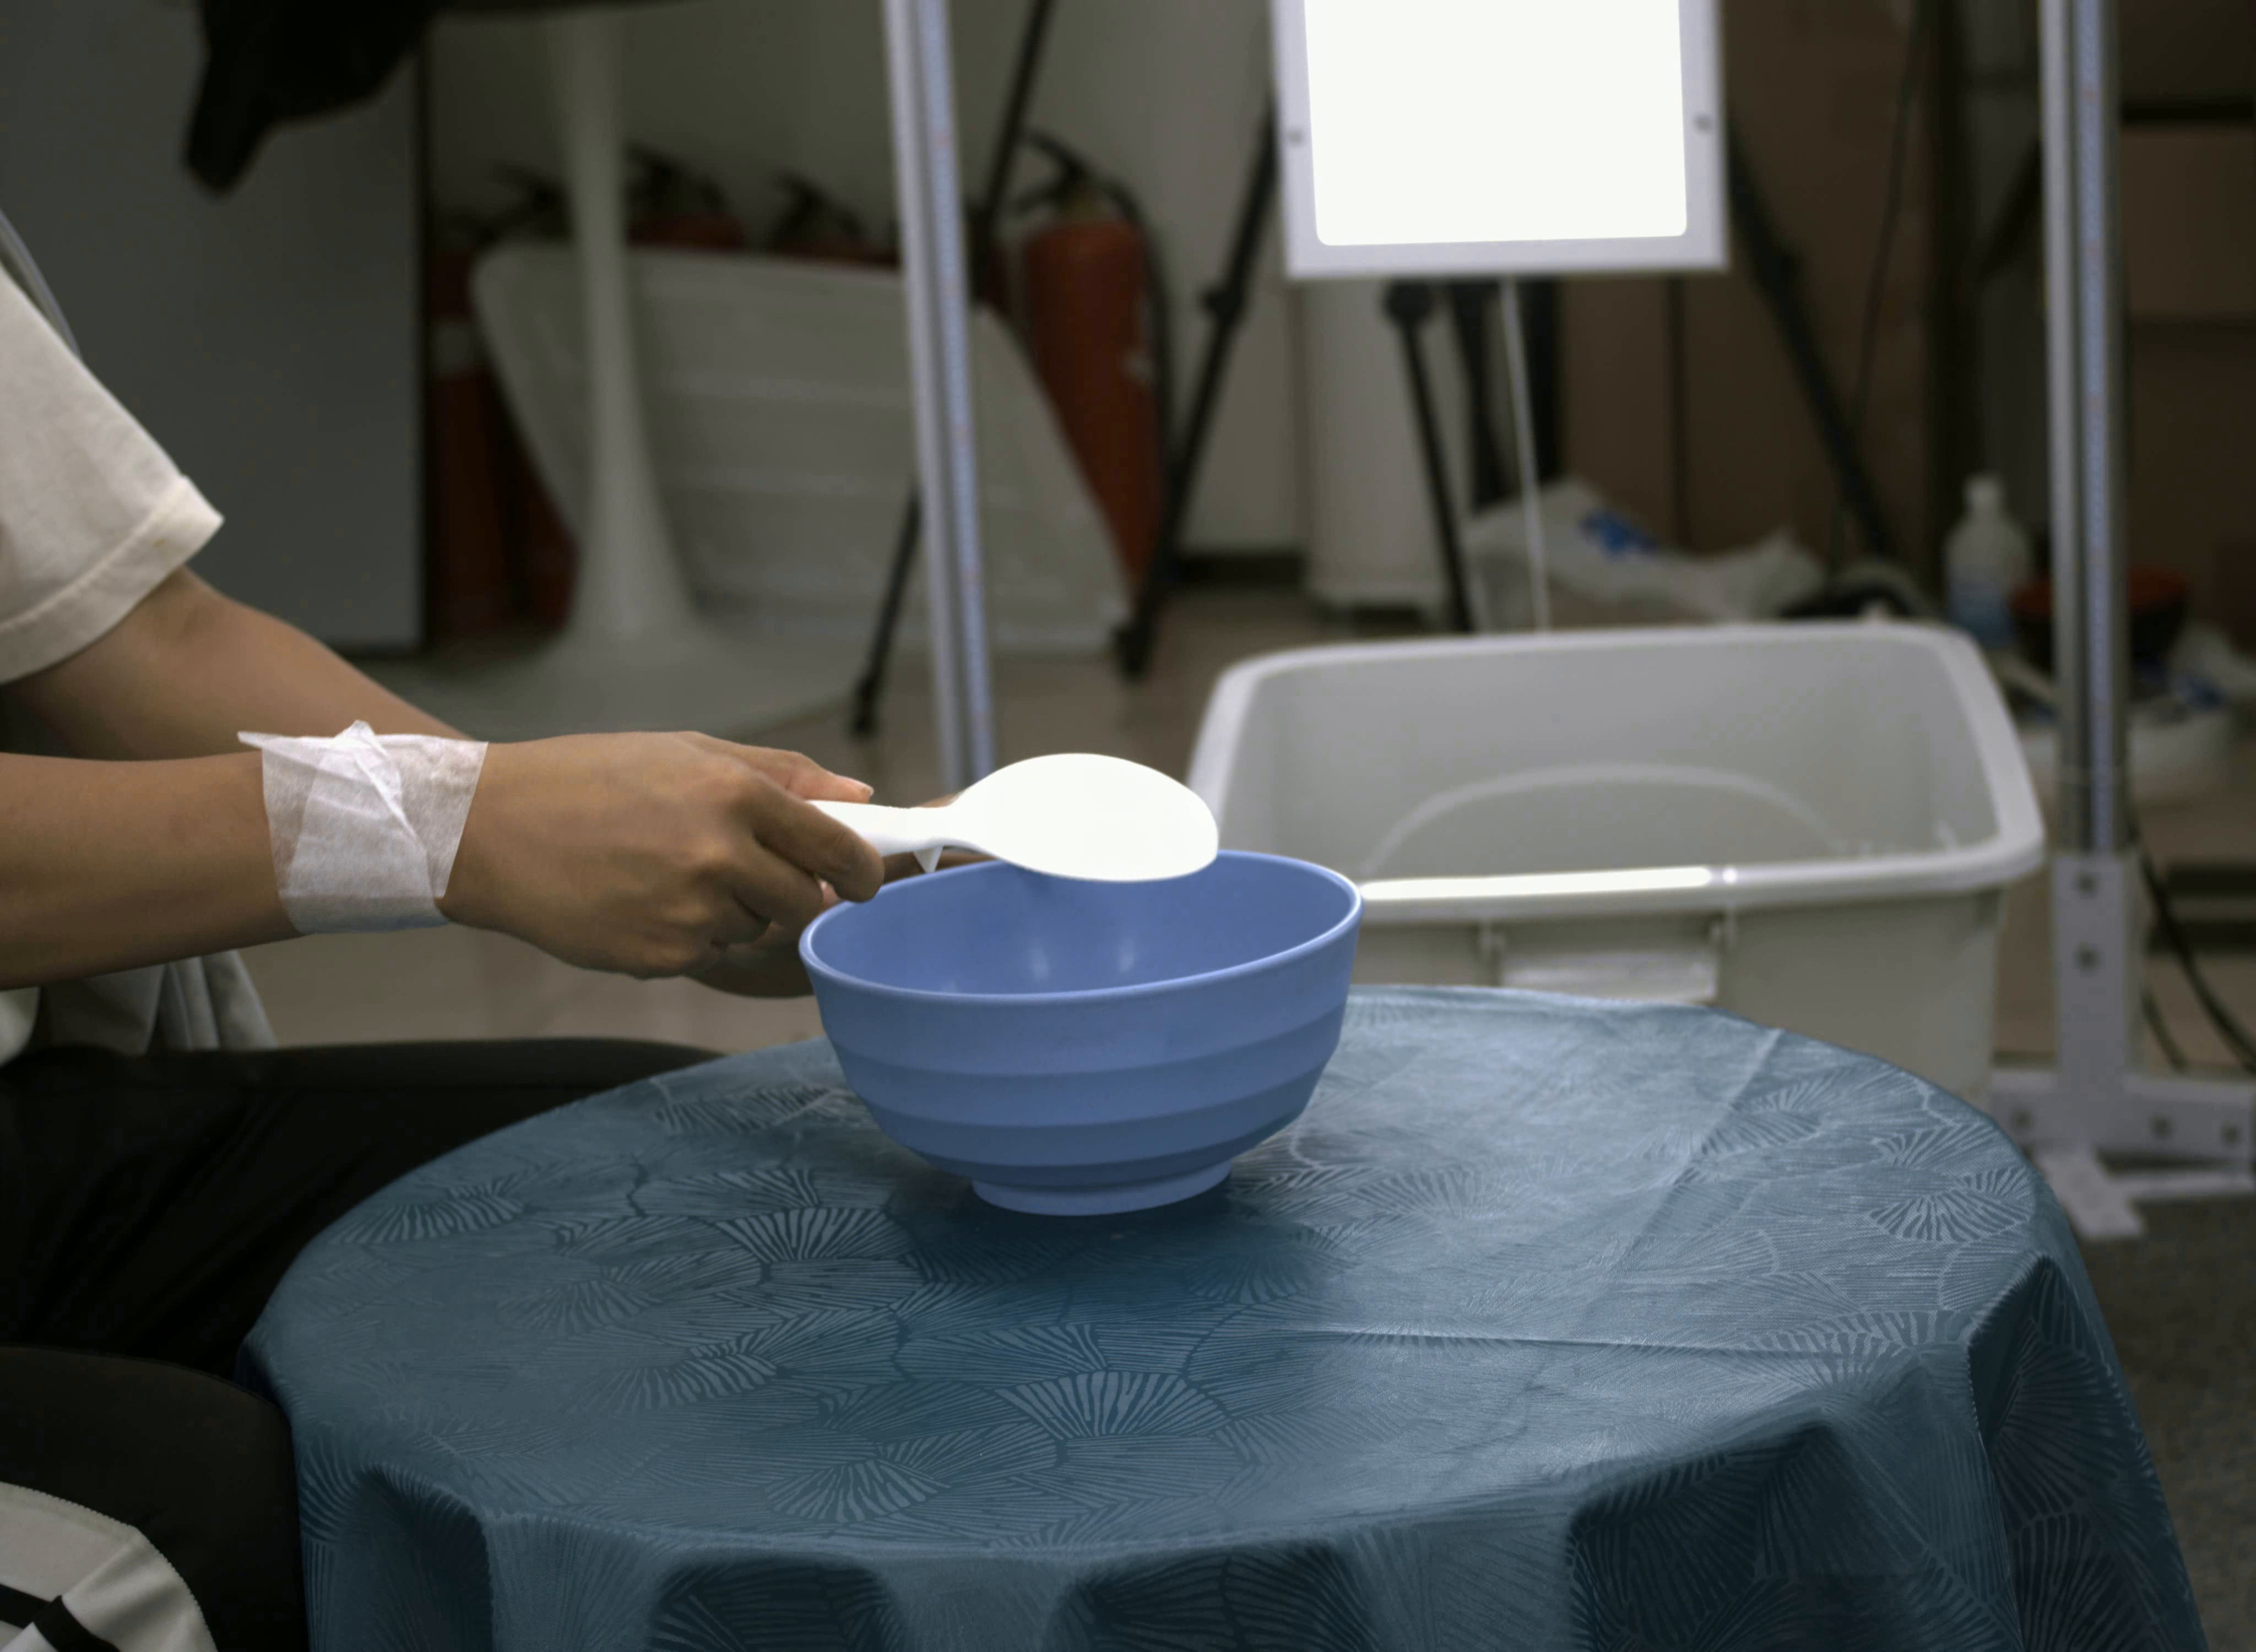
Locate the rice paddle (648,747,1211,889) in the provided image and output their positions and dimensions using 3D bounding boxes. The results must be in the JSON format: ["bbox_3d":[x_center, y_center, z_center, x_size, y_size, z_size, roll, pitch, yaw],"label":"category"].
[{"bbox_3d":[-0.061,-0.003,1.817,0.200,0.030,0.069,-4,39,-29],"label":"rice paddle"}]

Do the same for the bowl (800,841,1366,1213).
[{"bbox_3d":[-0.013,0.075,1.908,0.196,0.096,0.196,-4,14,0],"label":"bowl"}]
